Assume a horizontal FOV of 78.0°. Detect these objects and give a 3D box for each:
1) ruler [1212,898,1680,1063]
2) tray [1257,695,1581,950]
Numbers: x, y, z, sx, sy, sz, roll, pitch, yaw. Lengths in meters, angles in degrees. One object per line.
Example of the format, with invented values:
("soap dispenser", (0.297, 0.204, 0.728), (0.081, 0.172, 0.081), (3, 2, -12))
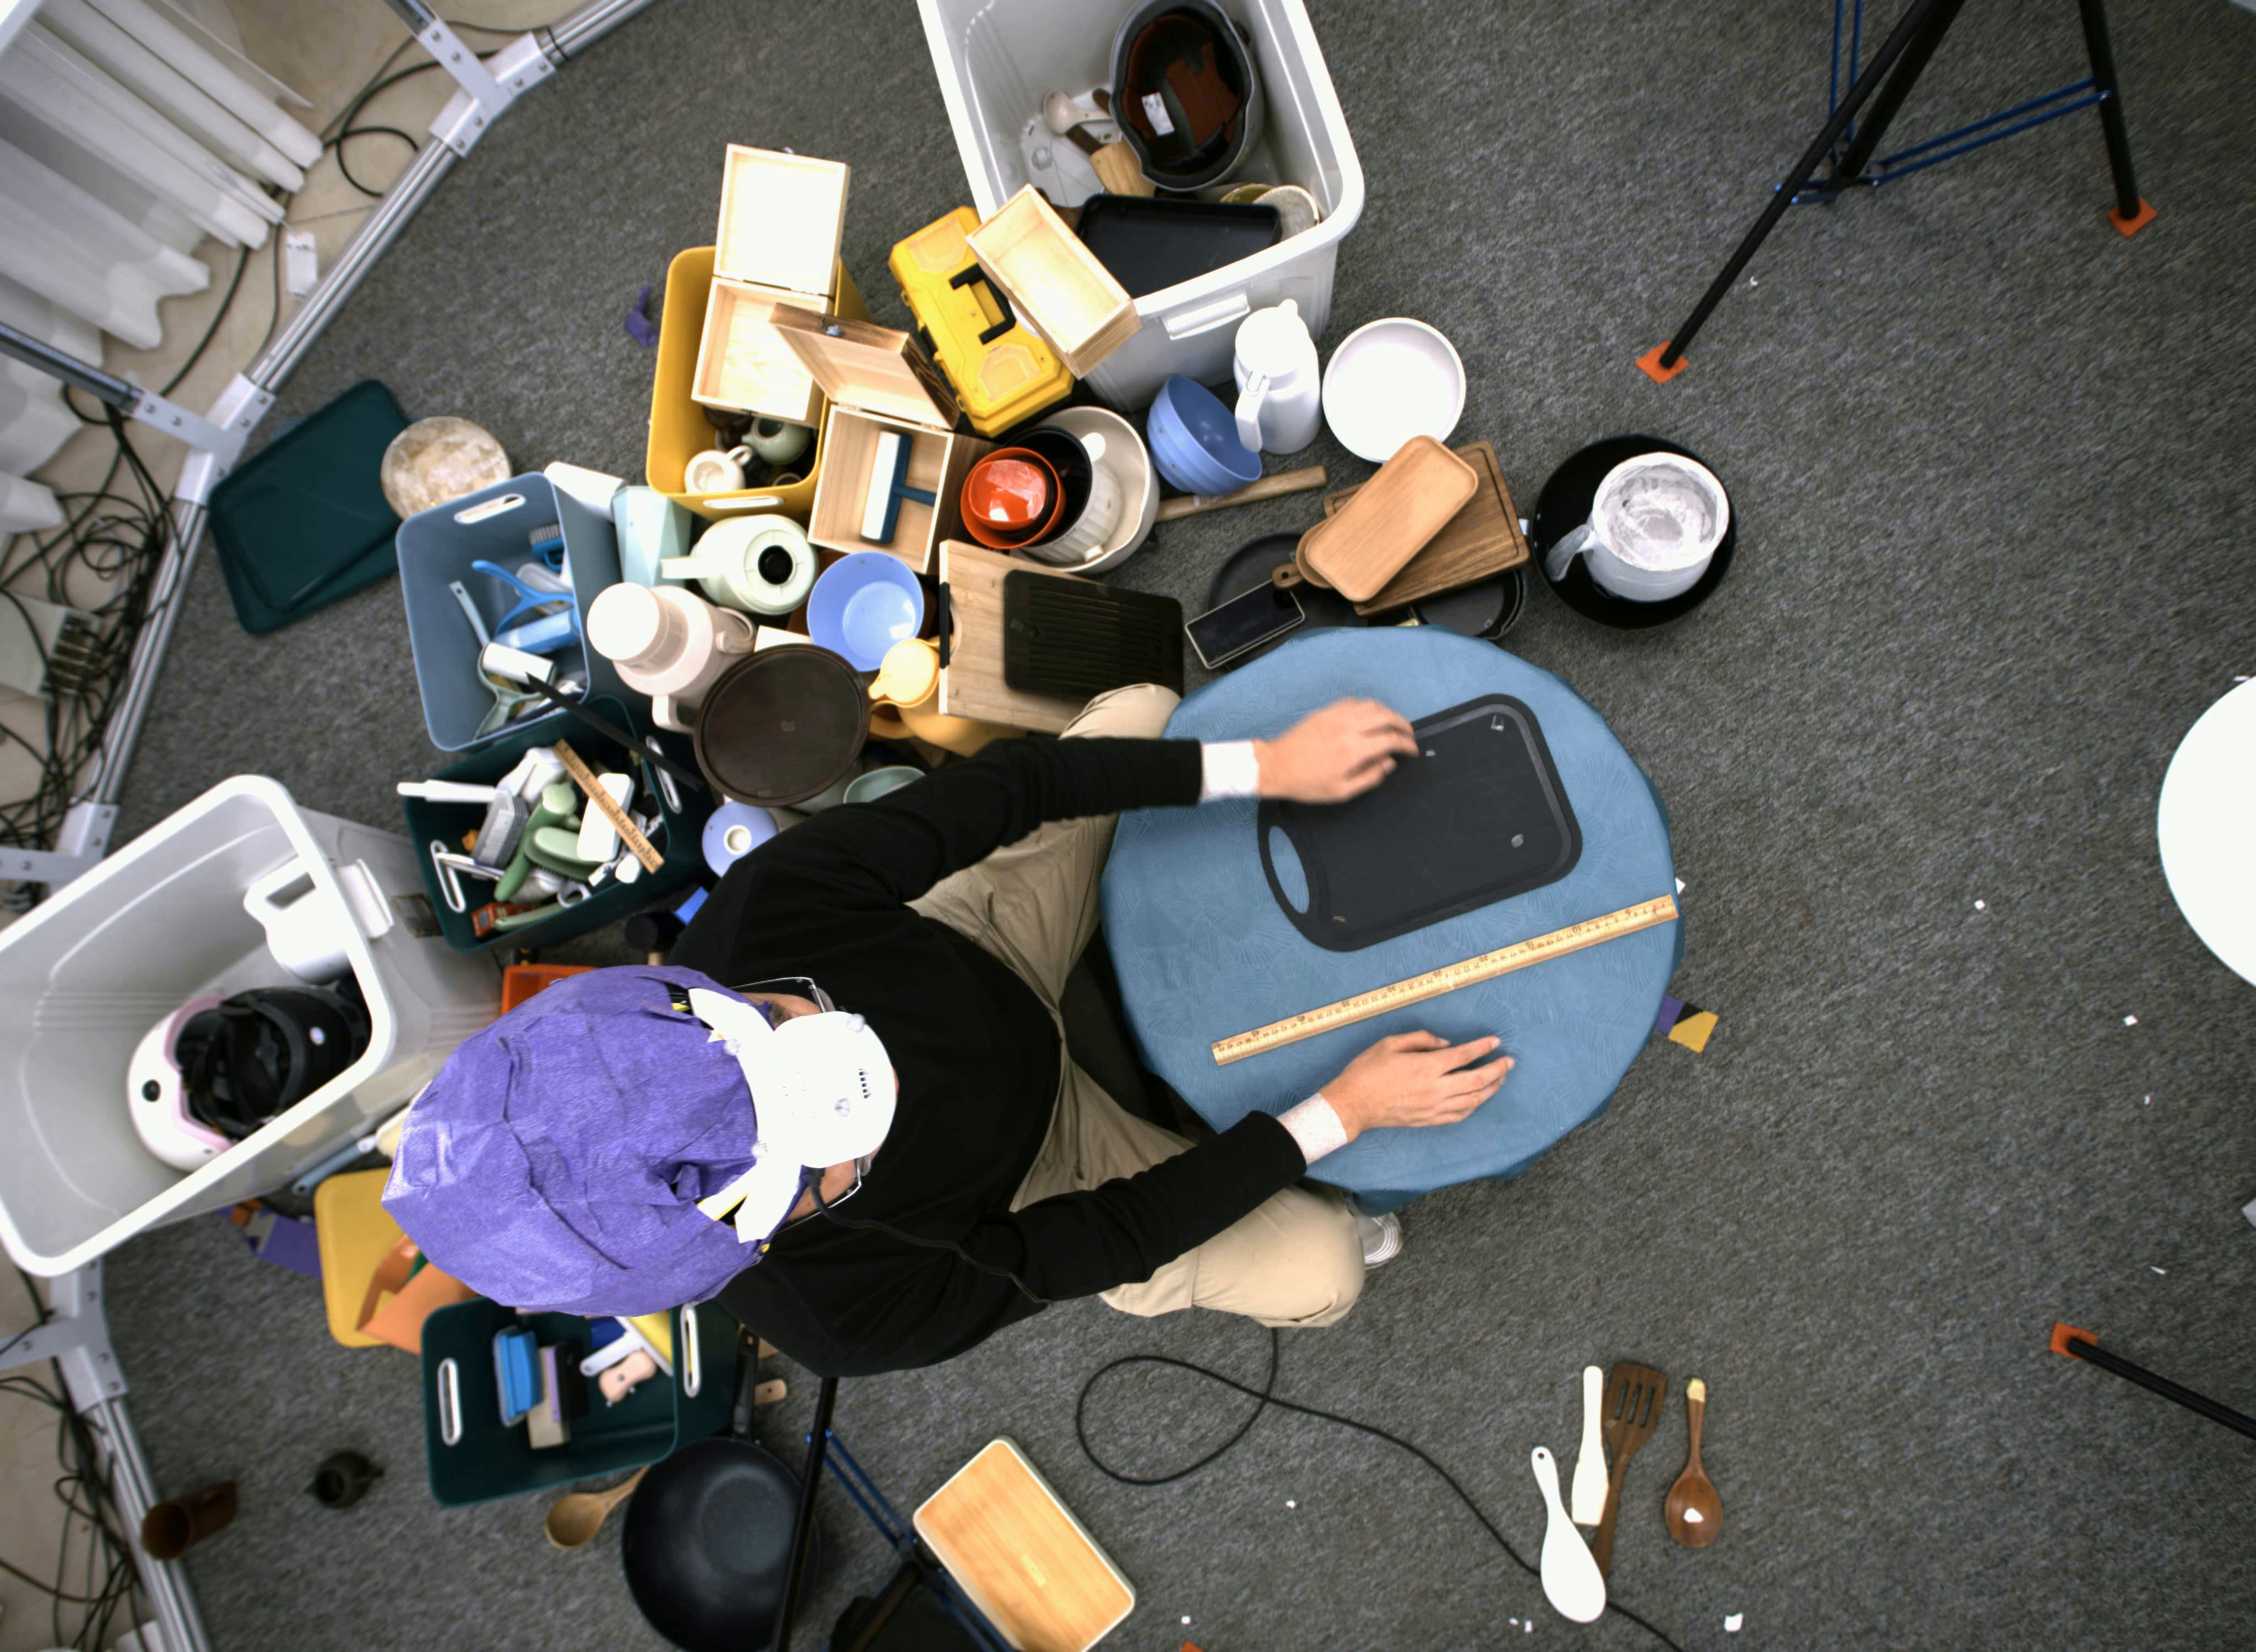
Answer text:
("ruler", (0.327, 0.160, 1.442), (0.503, 0.006, 0.026), (-19, 81, 9))
("tray", (0.299, -0.001, 1.455), (0.327, 0.010, 0.210), (-19, 84, 9))
